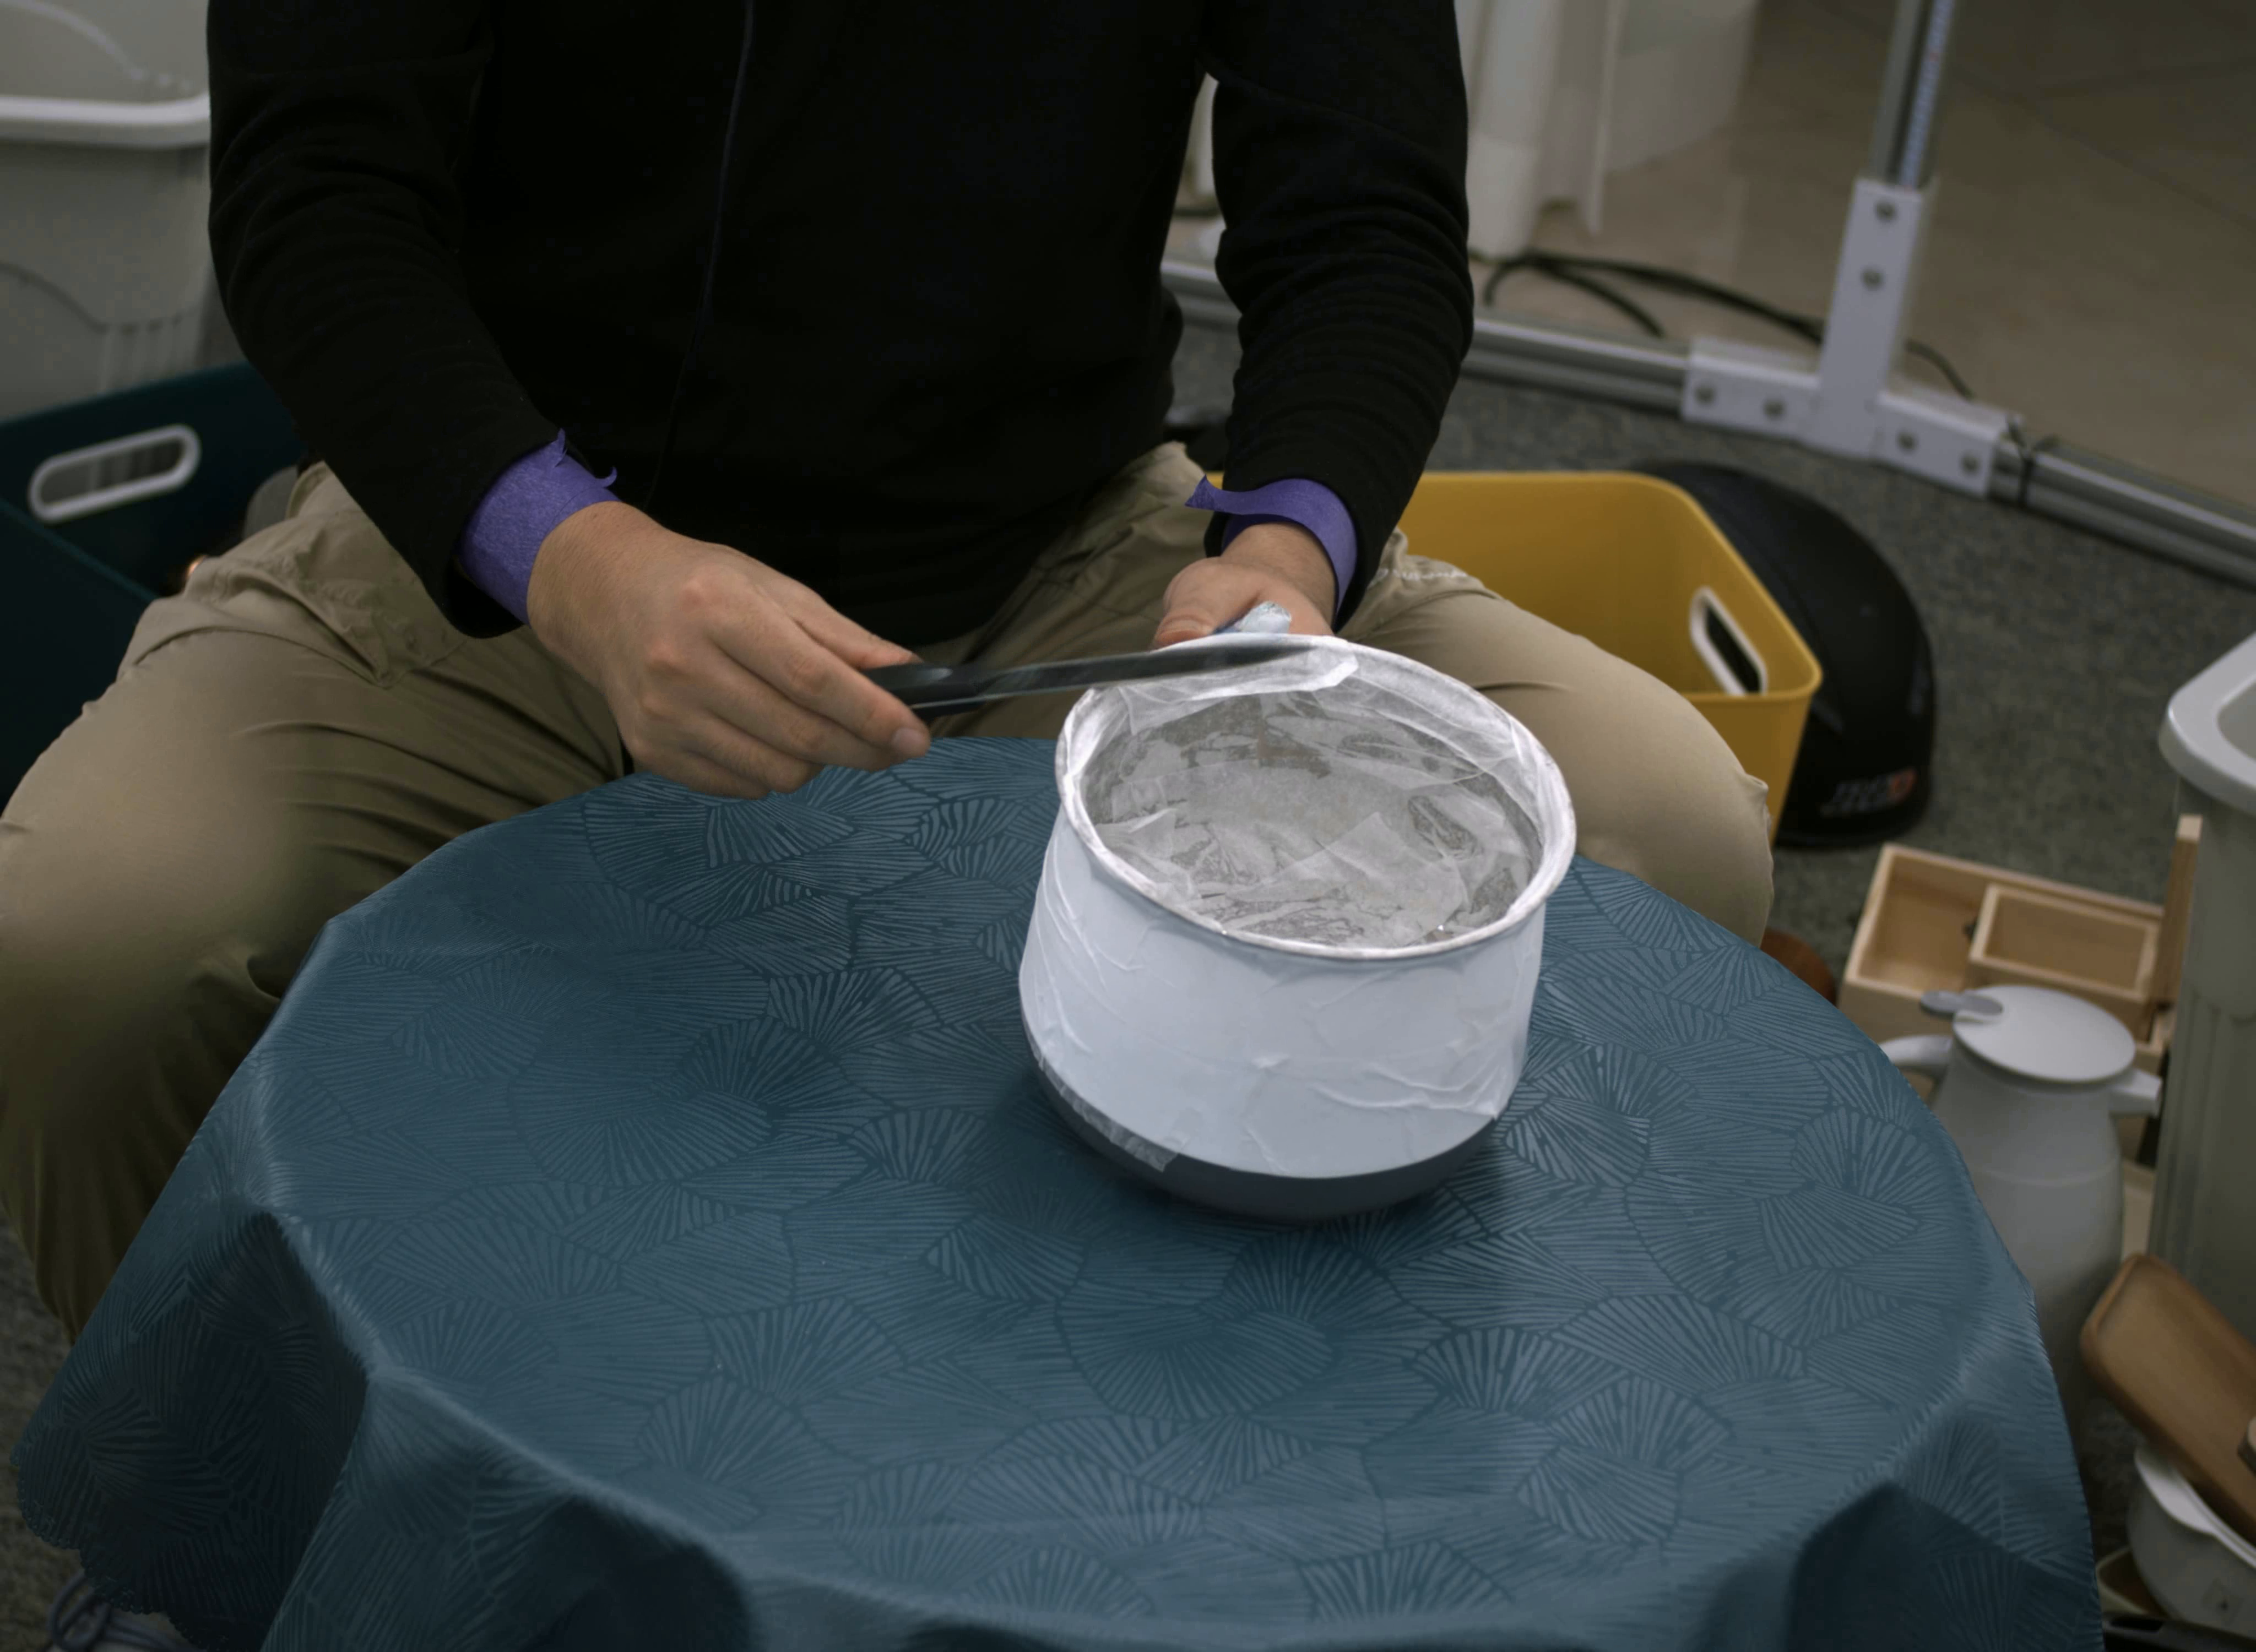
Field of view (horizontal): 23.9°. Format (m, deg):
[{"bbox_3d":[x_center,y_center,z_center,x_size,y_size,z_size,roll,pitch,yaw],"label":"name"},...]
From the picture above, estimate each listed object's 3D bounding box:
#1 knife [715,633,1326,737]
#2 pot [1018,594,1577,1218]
[{"bbox_3d":[-0.041,-0.050,1.837,0.239,0.016,0.024,-6,27,26],"label":"knife"},{"bbox_3d":[0.049,0.018,1.839,0.178,0.136,0.236,1,39,-13],"label":"pot"}]
